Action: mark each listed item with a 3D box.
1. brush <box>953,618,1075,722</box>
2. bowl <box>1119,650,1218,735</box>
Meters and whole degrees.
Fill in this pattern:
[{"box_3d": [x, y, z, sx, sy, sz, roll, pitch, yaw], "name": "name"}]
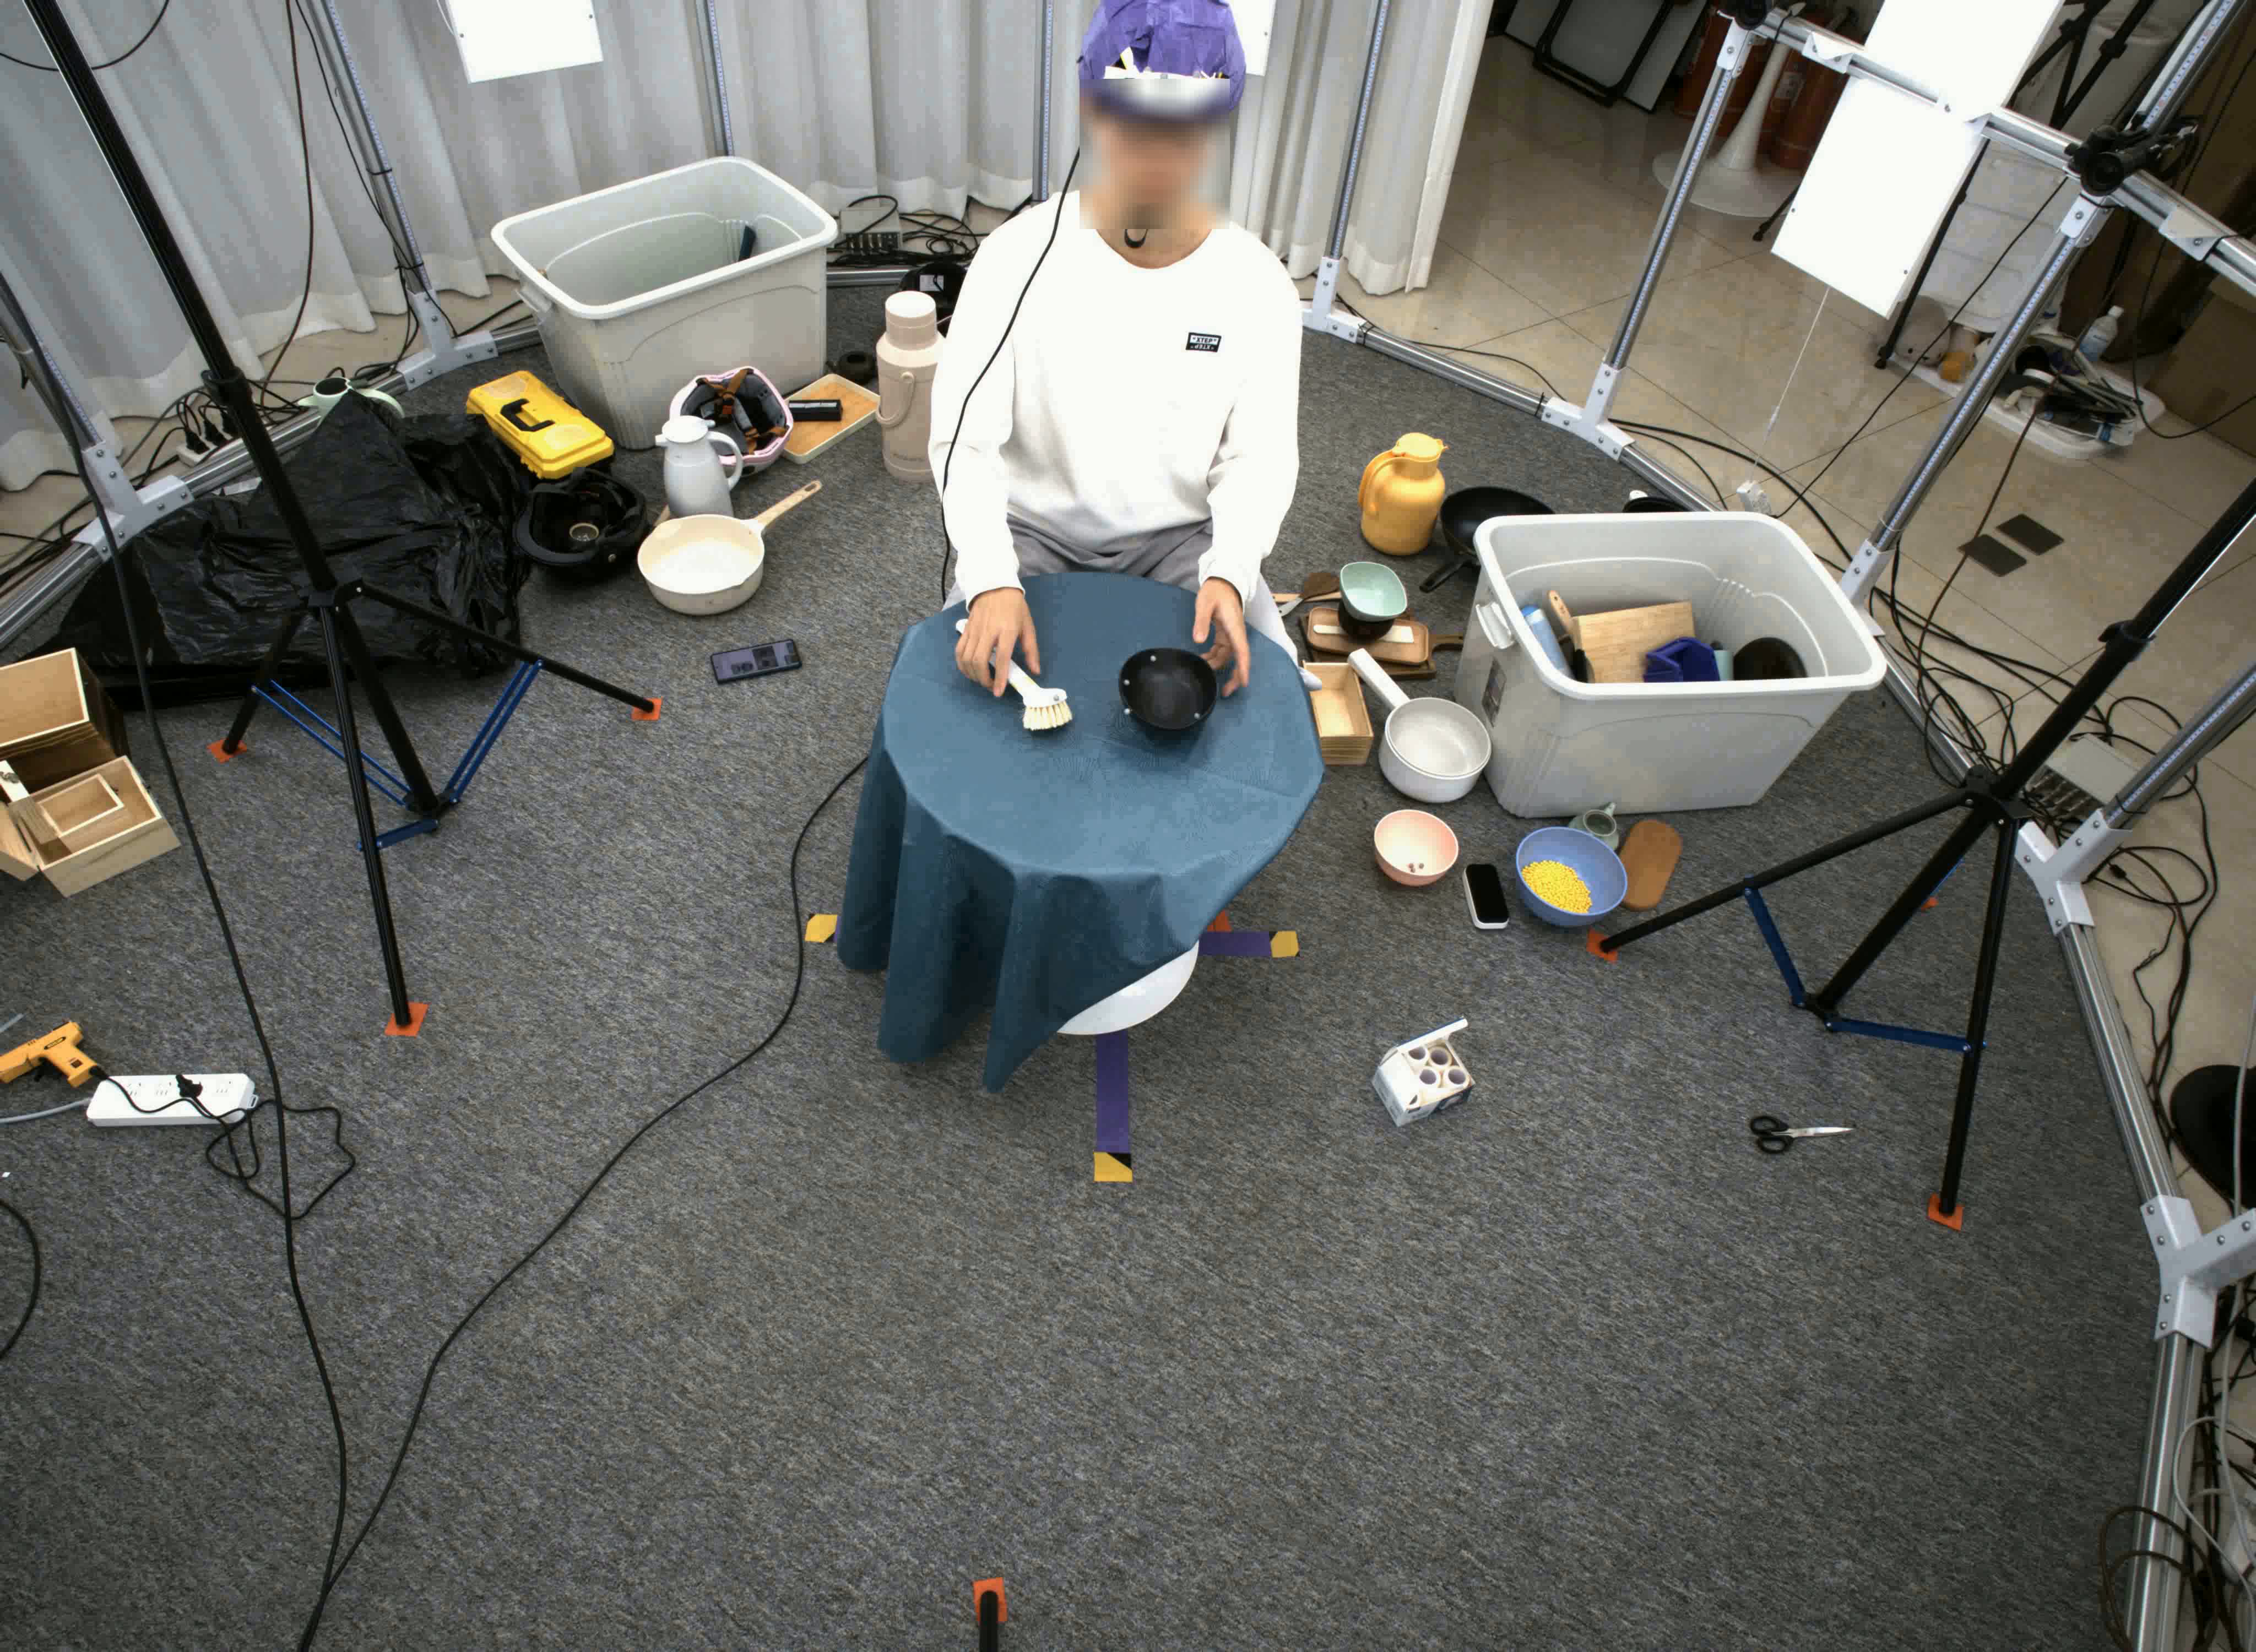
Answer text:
[{"box_3d": [-0.168, -0.219, 1.825, 0.069, 0.055, 0.271, -18, 41, -36], "name": "brush"}, {"box_3d": [0.054, -0.178, 1.782, 0.137, 0.065, 0.174, 3, 46, -2], "name": "bowl"}]
